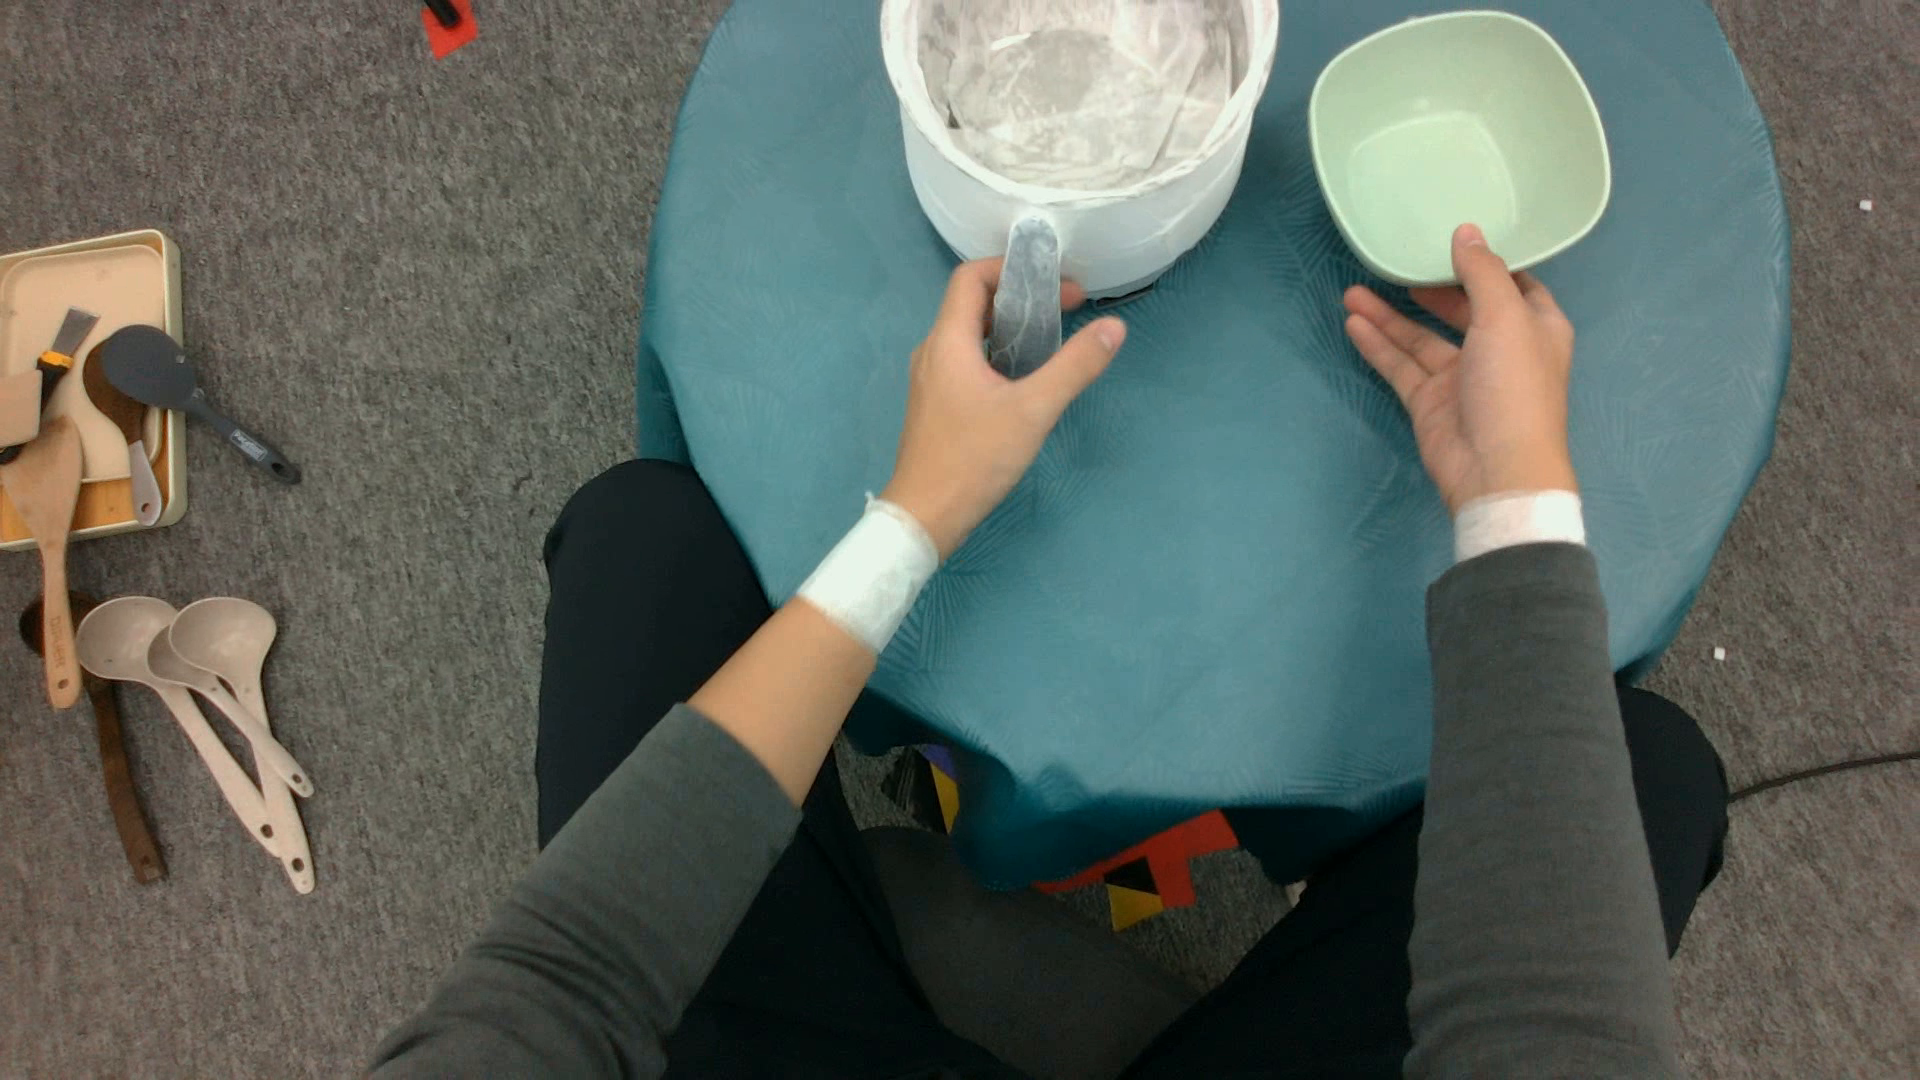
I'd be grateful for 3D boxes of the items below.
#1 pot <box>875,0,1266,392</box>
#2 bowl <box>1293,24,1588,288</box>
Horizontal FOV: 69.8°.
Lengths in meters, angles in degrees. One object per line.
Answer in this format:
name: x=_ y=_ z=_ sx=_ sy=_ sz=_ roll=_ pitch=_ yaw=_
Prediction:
pot: x=0.047 y=-0.195 z=0.681 sx=0.178 sy=0.136 sz=0.234 roll=10 pitch=79 yaw=5
bowl: x=0.240 y=-0.188 z=0.713 sx=0.151 sy=0.058 sz=0.152 roll=-1 pitch=76 yaw=2
